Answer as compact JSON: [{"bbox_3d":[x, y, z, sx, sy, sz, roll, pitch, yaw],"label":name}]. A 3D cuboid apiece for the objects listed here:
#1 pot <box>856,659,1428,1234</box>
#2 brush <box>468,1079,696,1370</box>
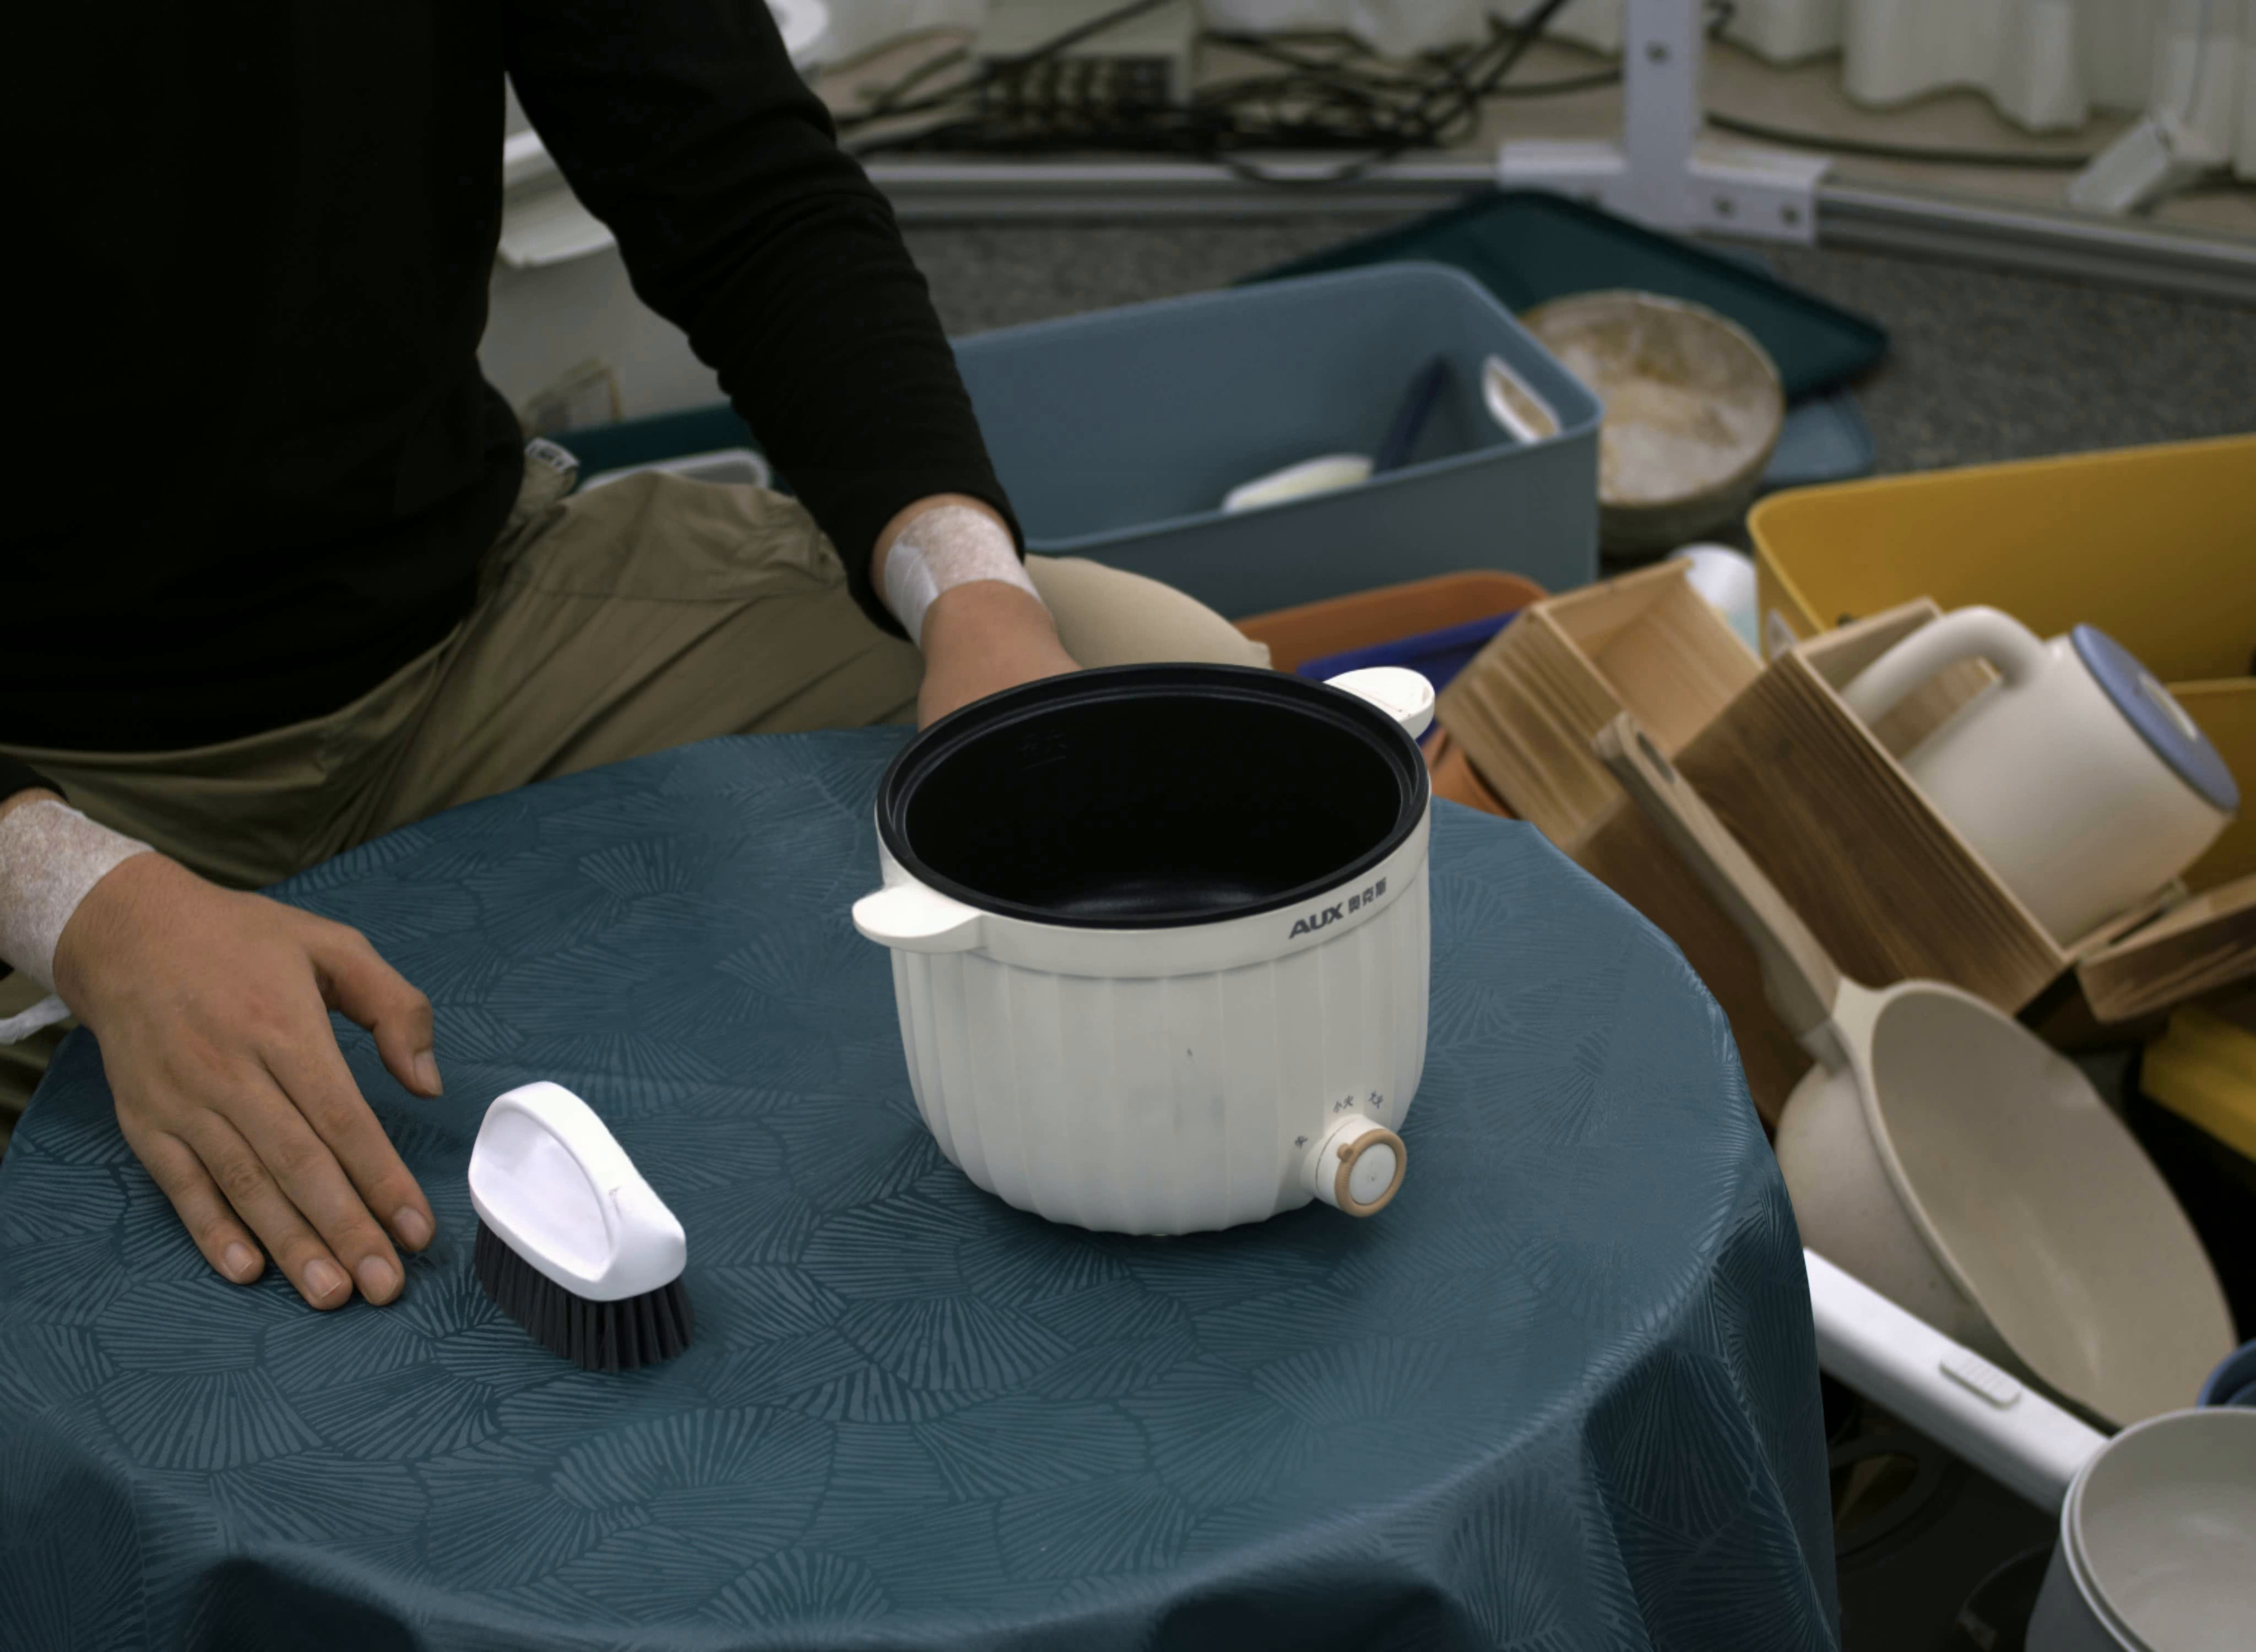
[{"bbox_3d":[0.015,0.046,1.858,0.243,0.141,0.190,-26,32,-35],"label":"pot"},{"bbox_3d":[-0.178,0.121,1.801,0.050,0.072,0.099,-18,30,-27],"label":"brush"}]
